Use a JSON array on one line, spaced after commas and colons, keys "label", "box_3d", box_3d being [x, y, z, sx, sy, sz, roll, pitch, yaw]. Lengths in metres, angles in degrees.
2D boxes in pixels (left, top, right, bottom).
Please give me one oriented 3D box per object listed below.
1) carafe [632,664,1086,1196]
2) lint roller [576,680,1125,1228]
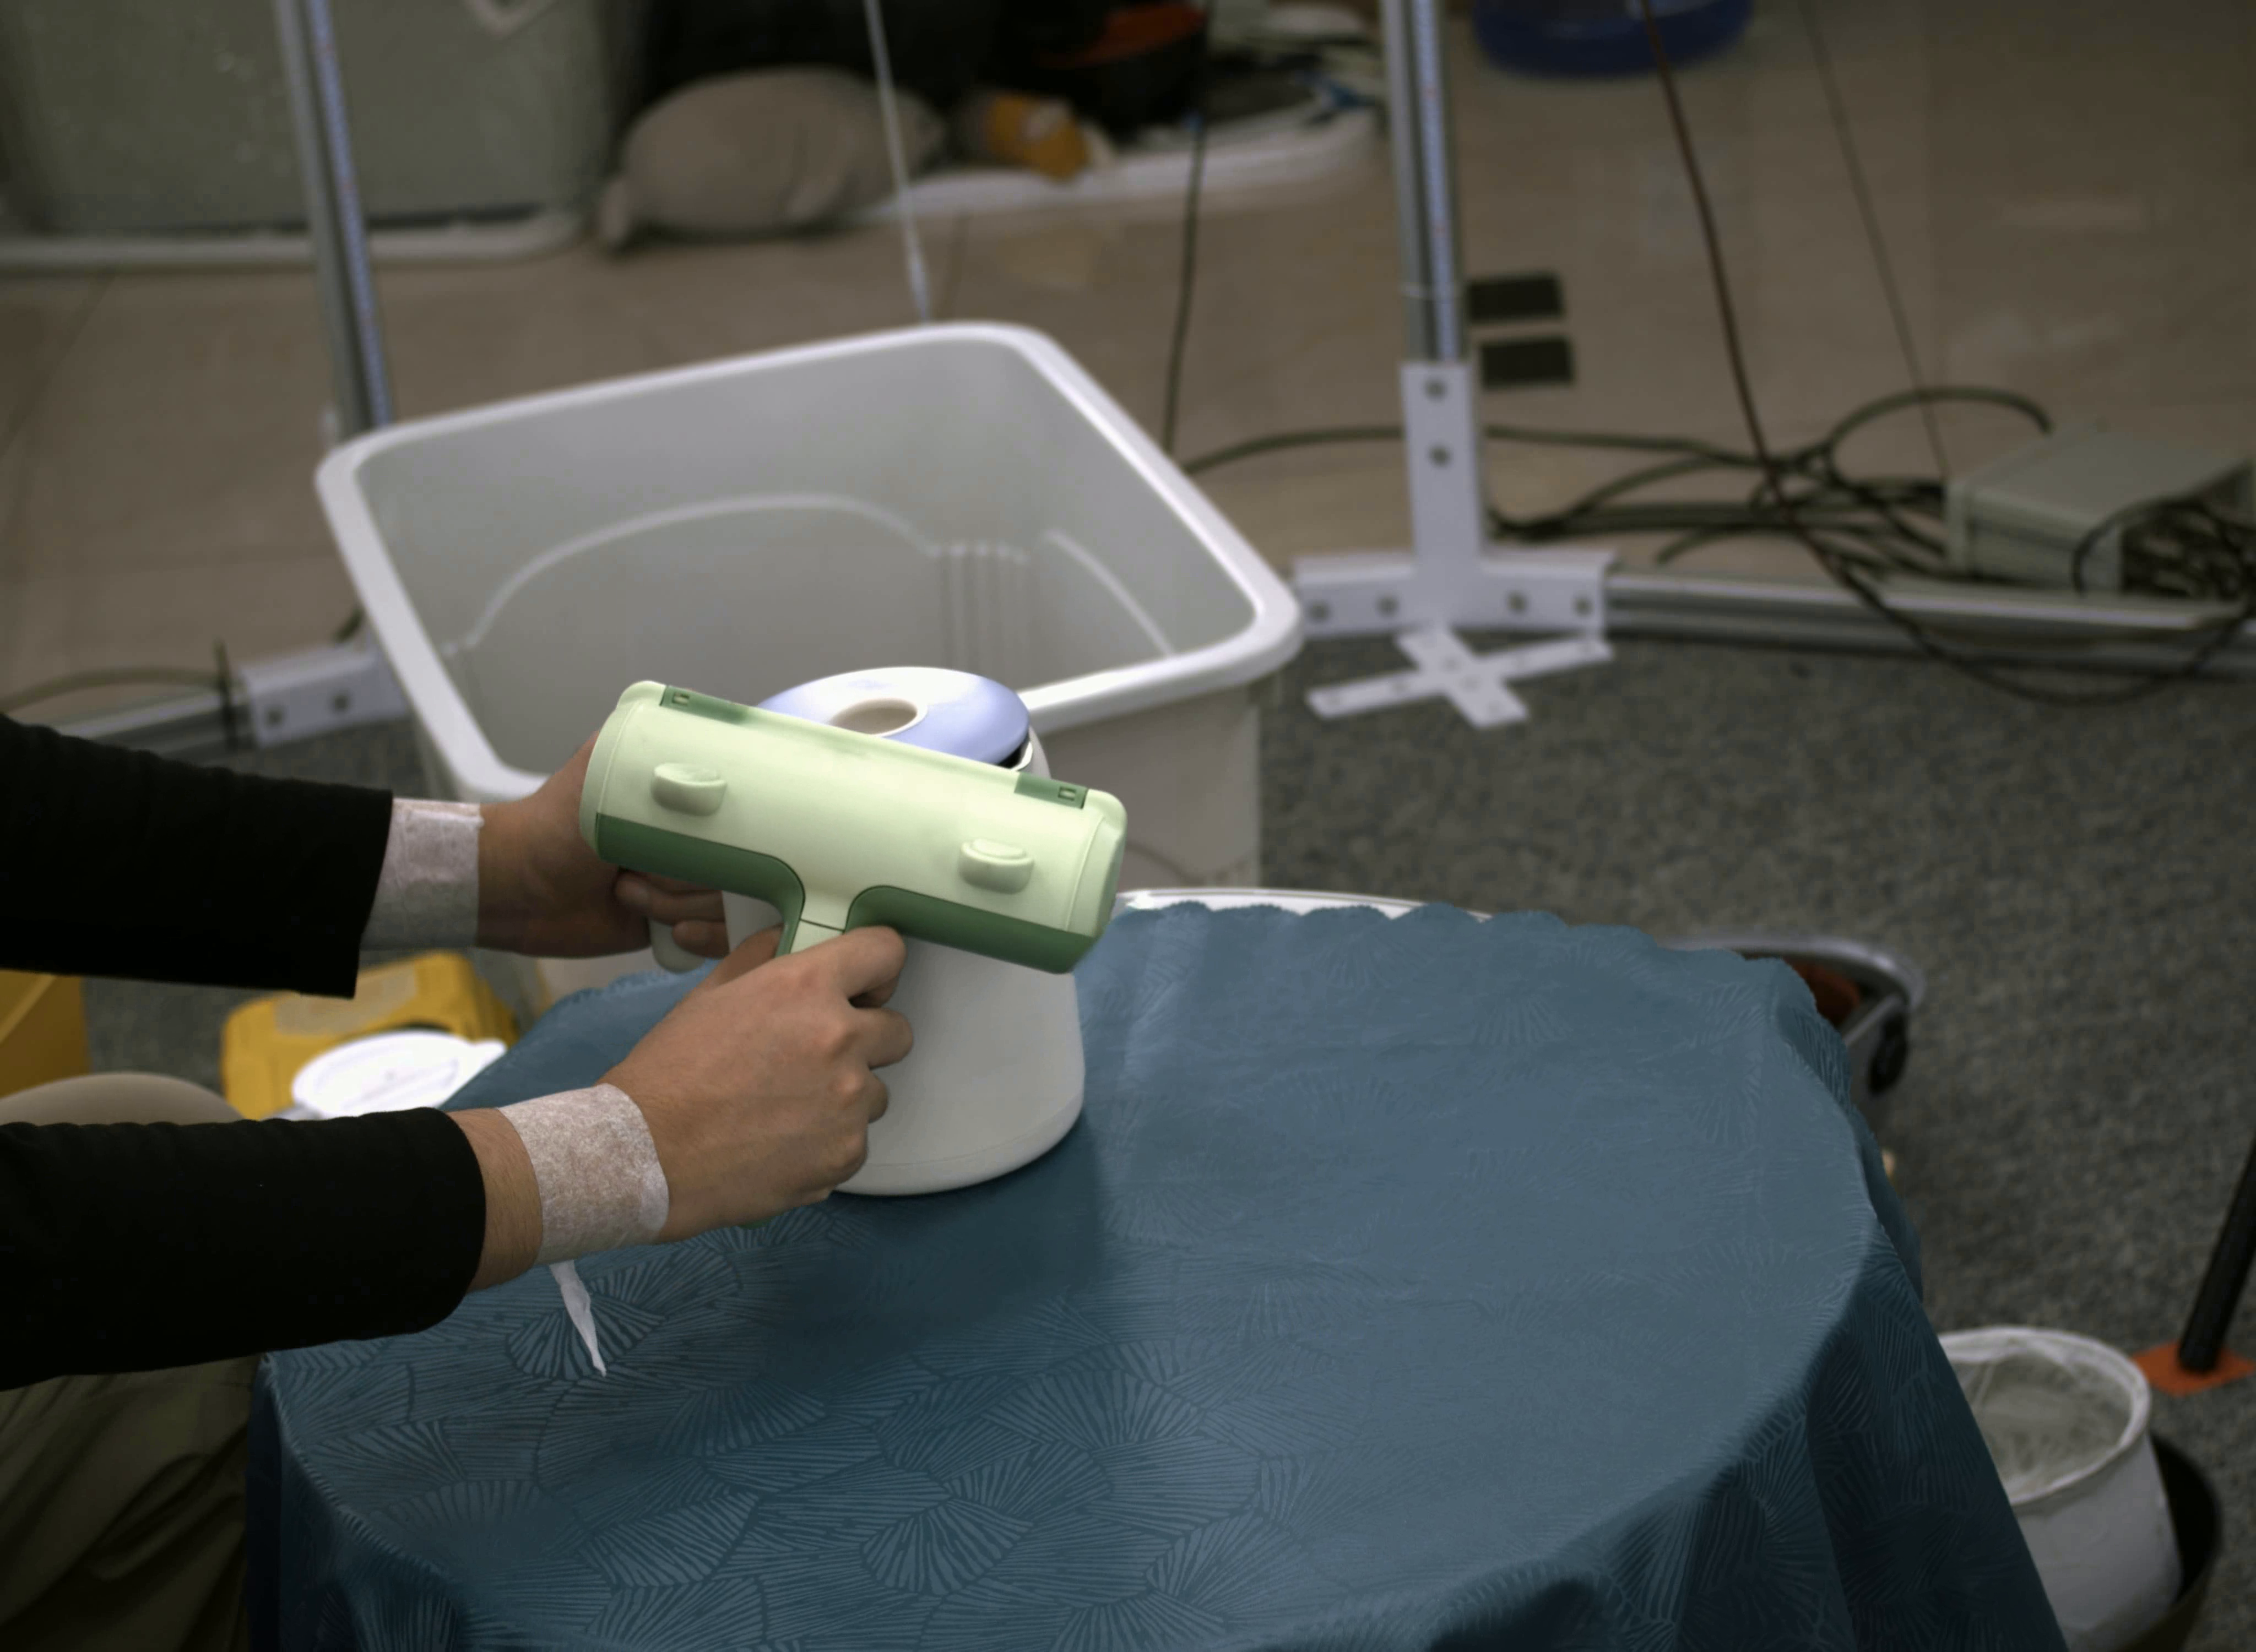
[{"label": "carafe", "box_3d": [-0.109, 0.037, 2.187, 0.190, 0.185, 0.131, 7, 27, 30]}, {"label": "lint roller", "box_3d": [-0.117, 0.051, 2.044, 0.198, 0.083, 0.181, 14, 72, 7]}]
